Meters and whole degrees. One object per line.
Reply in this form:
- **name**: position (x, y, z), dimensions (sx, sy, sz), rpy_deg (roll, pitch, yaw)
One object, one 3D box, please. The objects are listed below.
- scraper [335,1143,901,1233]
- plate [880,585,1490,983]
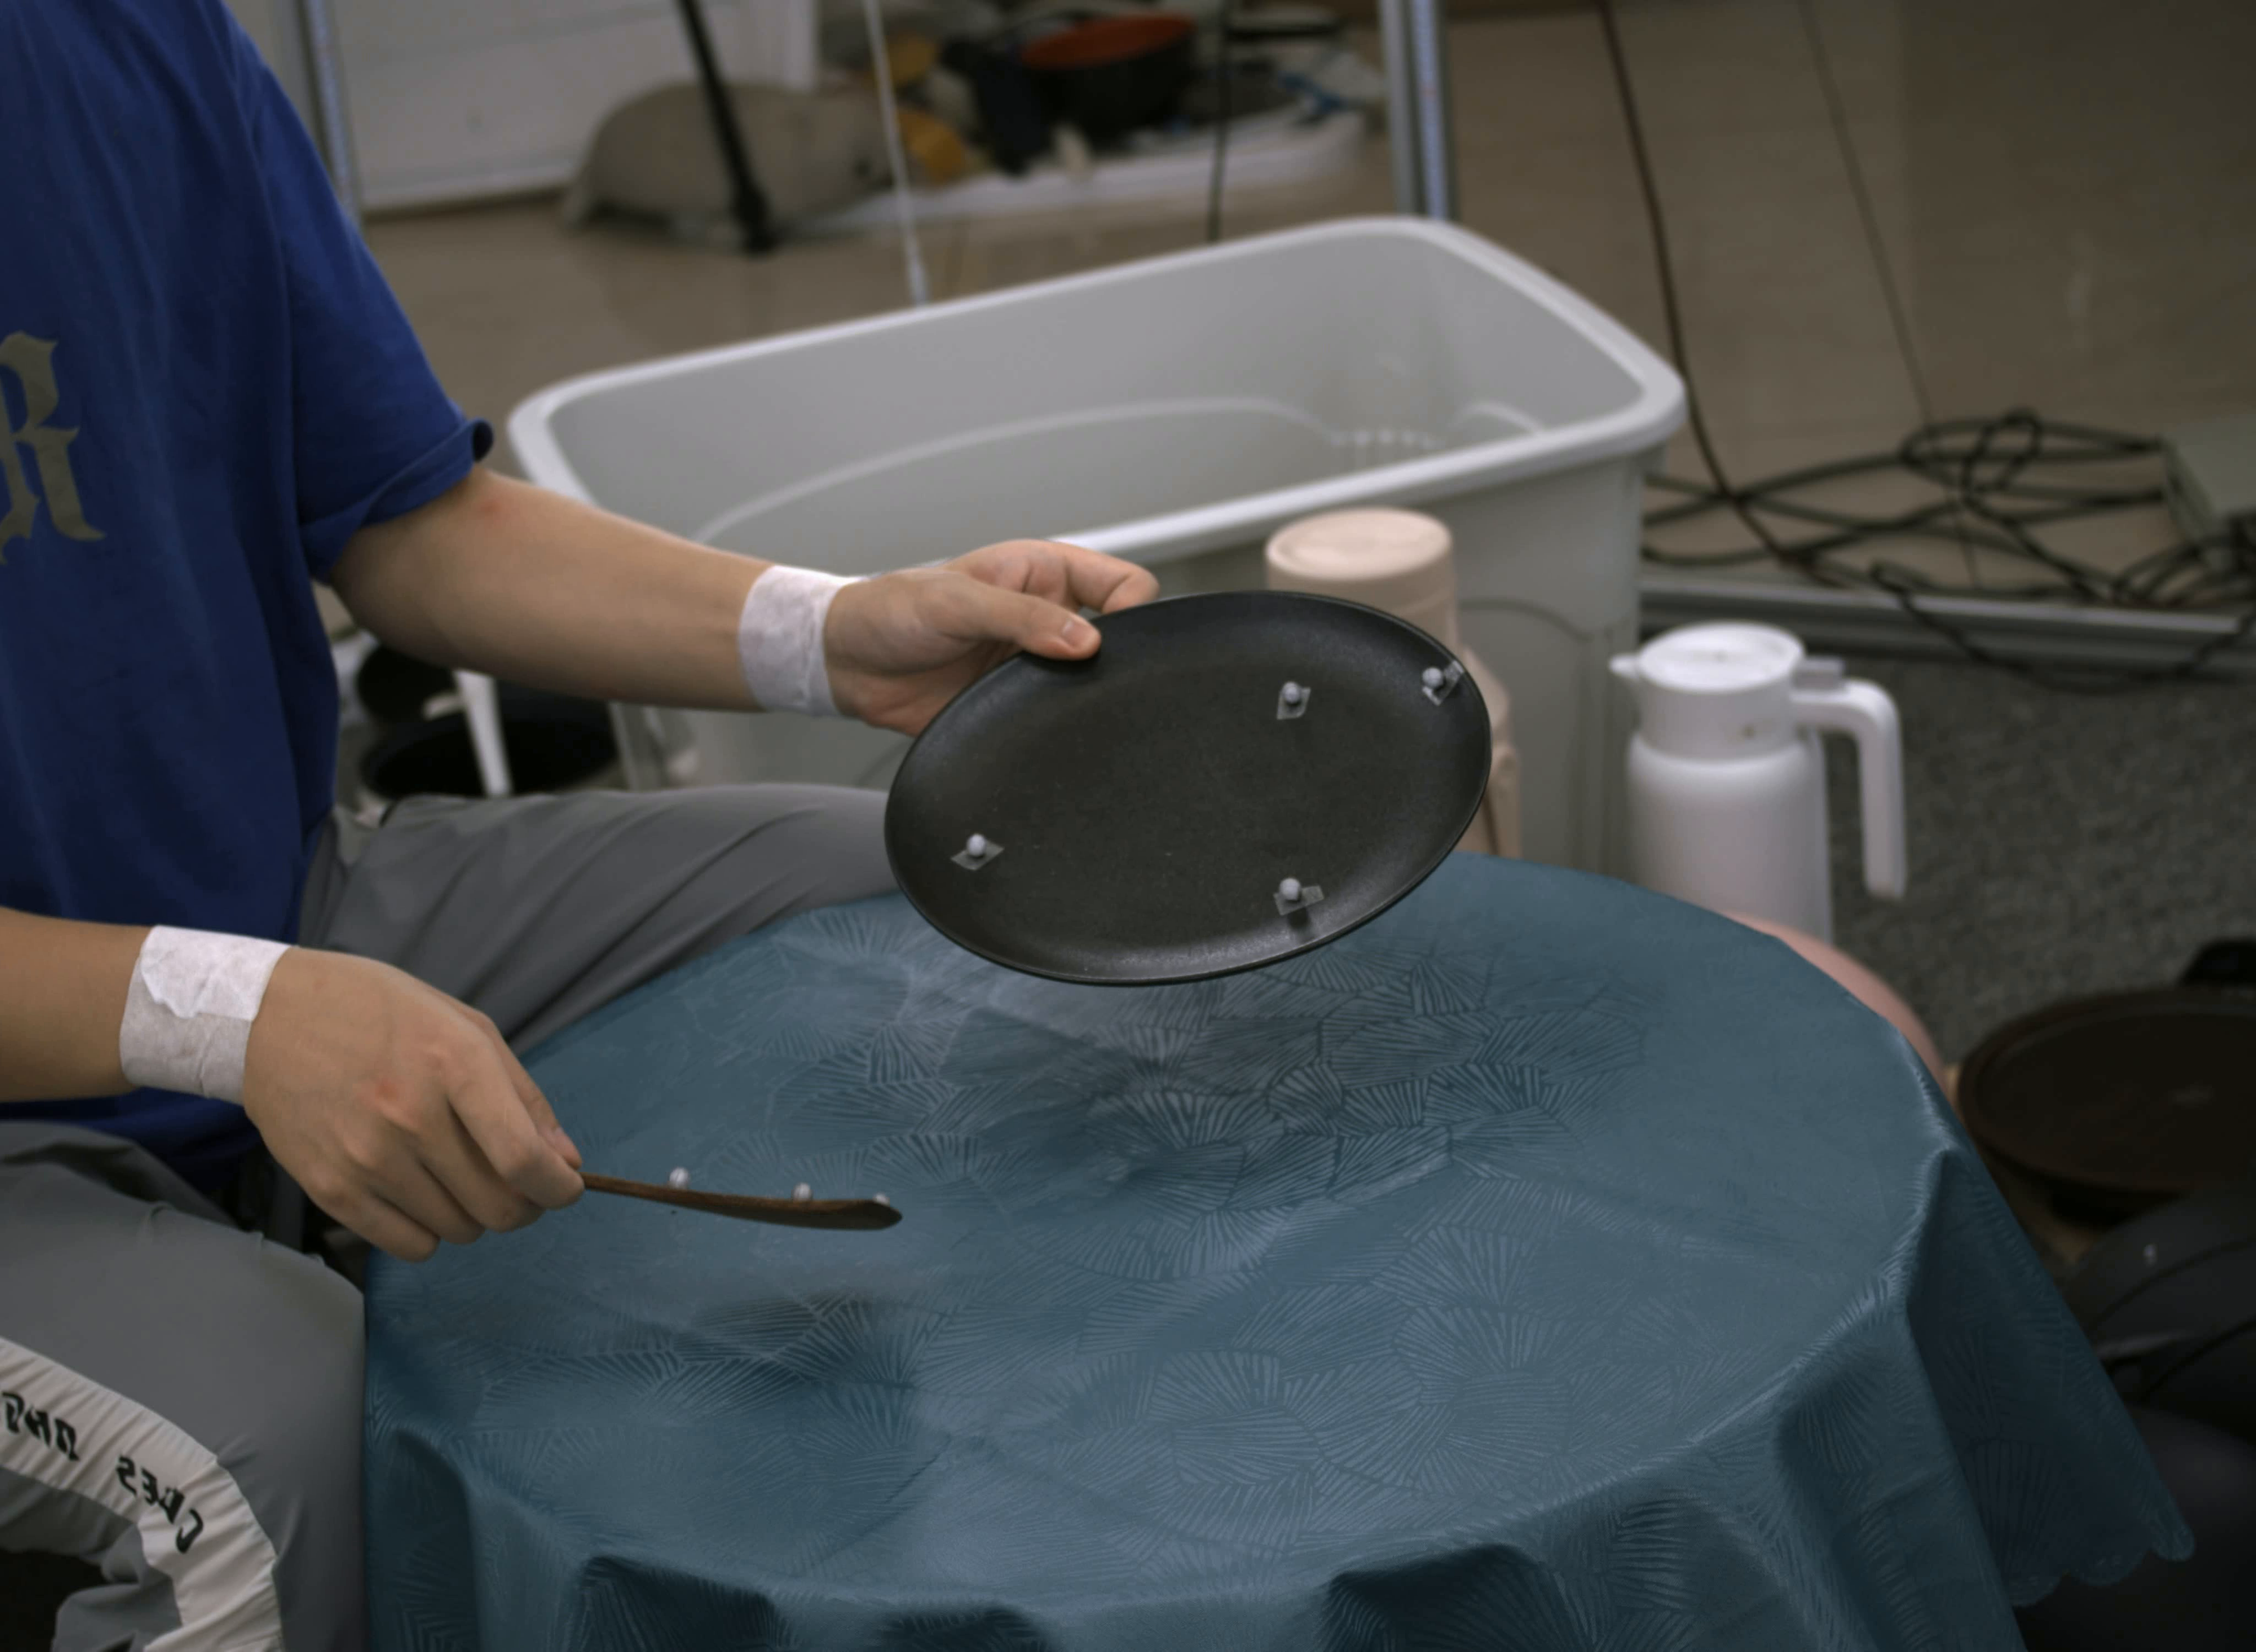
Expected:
- **scraper**: position (-0.188, 0.132, 2.074), dimensions (0.211, 0.011, 0.076), rpy_deg (7, -8, 9)
- **plate**: position (0.023, -0.012, 2.226), dimensions (0.244, 0.024, 0.240), rpy_deg (-8, 39, 7)
